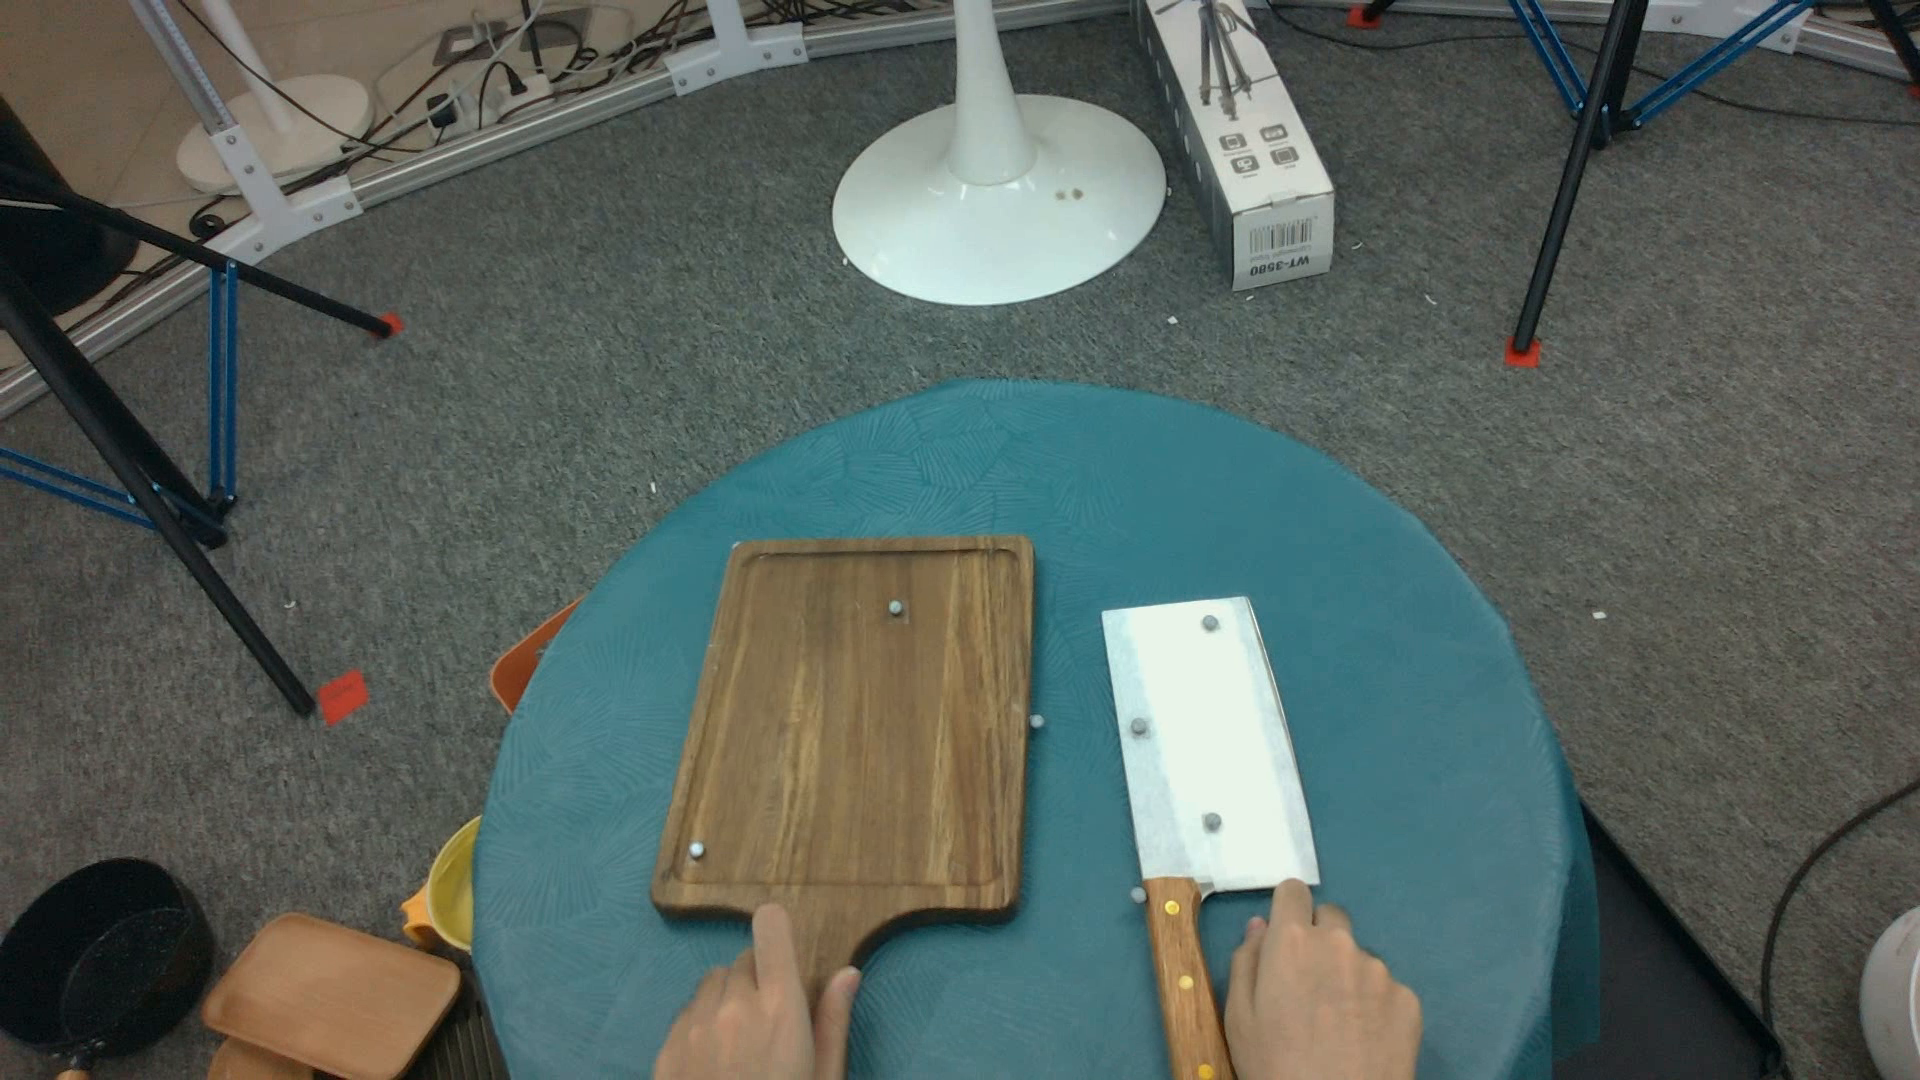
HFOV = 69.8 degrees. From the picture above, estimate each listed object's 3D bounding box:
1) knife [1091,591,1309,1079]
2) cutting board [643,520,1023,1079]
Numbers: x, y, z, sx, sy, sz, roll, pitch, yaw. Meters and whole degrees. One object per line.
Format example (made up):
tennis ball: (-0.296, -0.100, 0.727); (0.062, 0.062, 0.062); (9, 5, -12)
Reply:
knife: (0.131, 0.146, 0.725); (0.093, 0.021, 0.307); (-6, 47, 1)
cutting board: (-0.067, 0.130, 0.762); (0.201, 0.023, 0.354); (-1, 50, 7)
